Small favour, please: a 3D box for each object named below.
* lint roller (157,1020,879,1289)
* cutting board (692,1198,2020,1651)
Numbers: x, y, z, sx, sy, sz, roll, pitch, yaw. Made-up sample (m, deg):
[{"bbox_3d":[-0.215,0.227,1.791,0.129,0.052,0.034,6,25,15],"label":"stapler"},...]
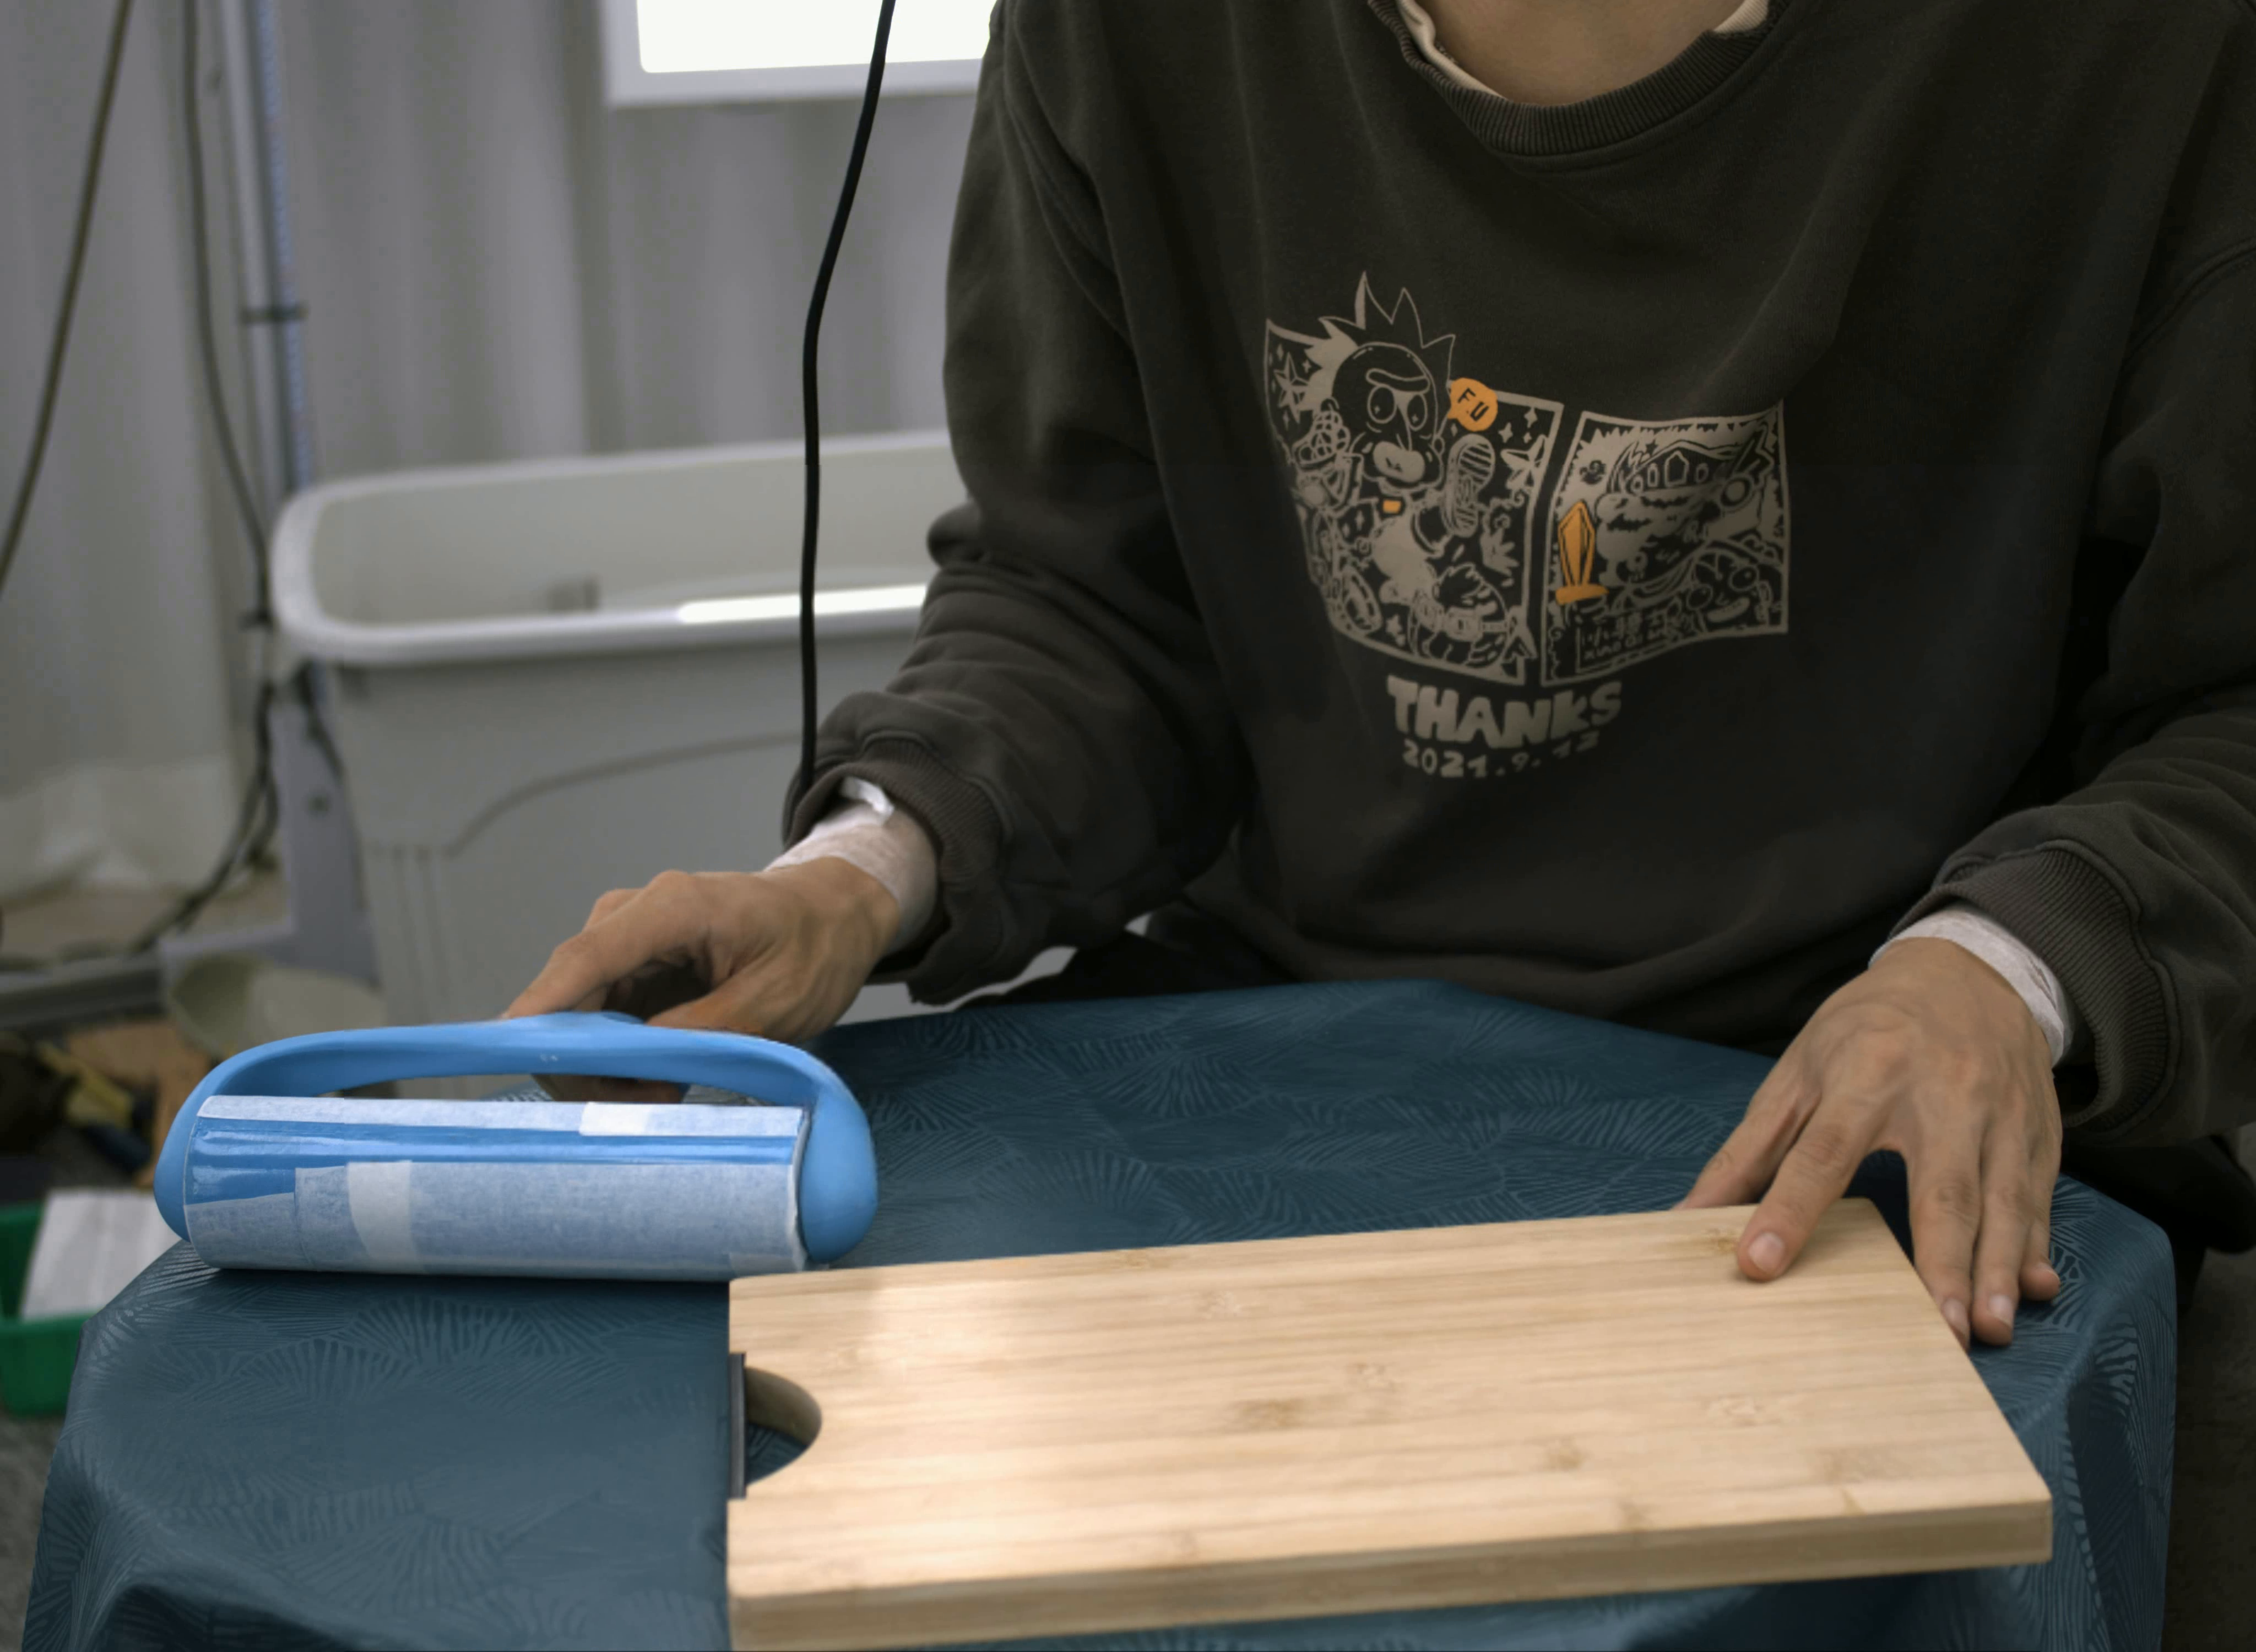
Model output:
[{"bbox_3d":[-0.177,0.092,1.726,0.228,0.067,0.181,-1,18,11],"label":"lint roller"},{"bbox_3d":[0.054,0.162,1.504,0.347,0.023,0.252,-4,15,-4],"label":"cutting board"}]
